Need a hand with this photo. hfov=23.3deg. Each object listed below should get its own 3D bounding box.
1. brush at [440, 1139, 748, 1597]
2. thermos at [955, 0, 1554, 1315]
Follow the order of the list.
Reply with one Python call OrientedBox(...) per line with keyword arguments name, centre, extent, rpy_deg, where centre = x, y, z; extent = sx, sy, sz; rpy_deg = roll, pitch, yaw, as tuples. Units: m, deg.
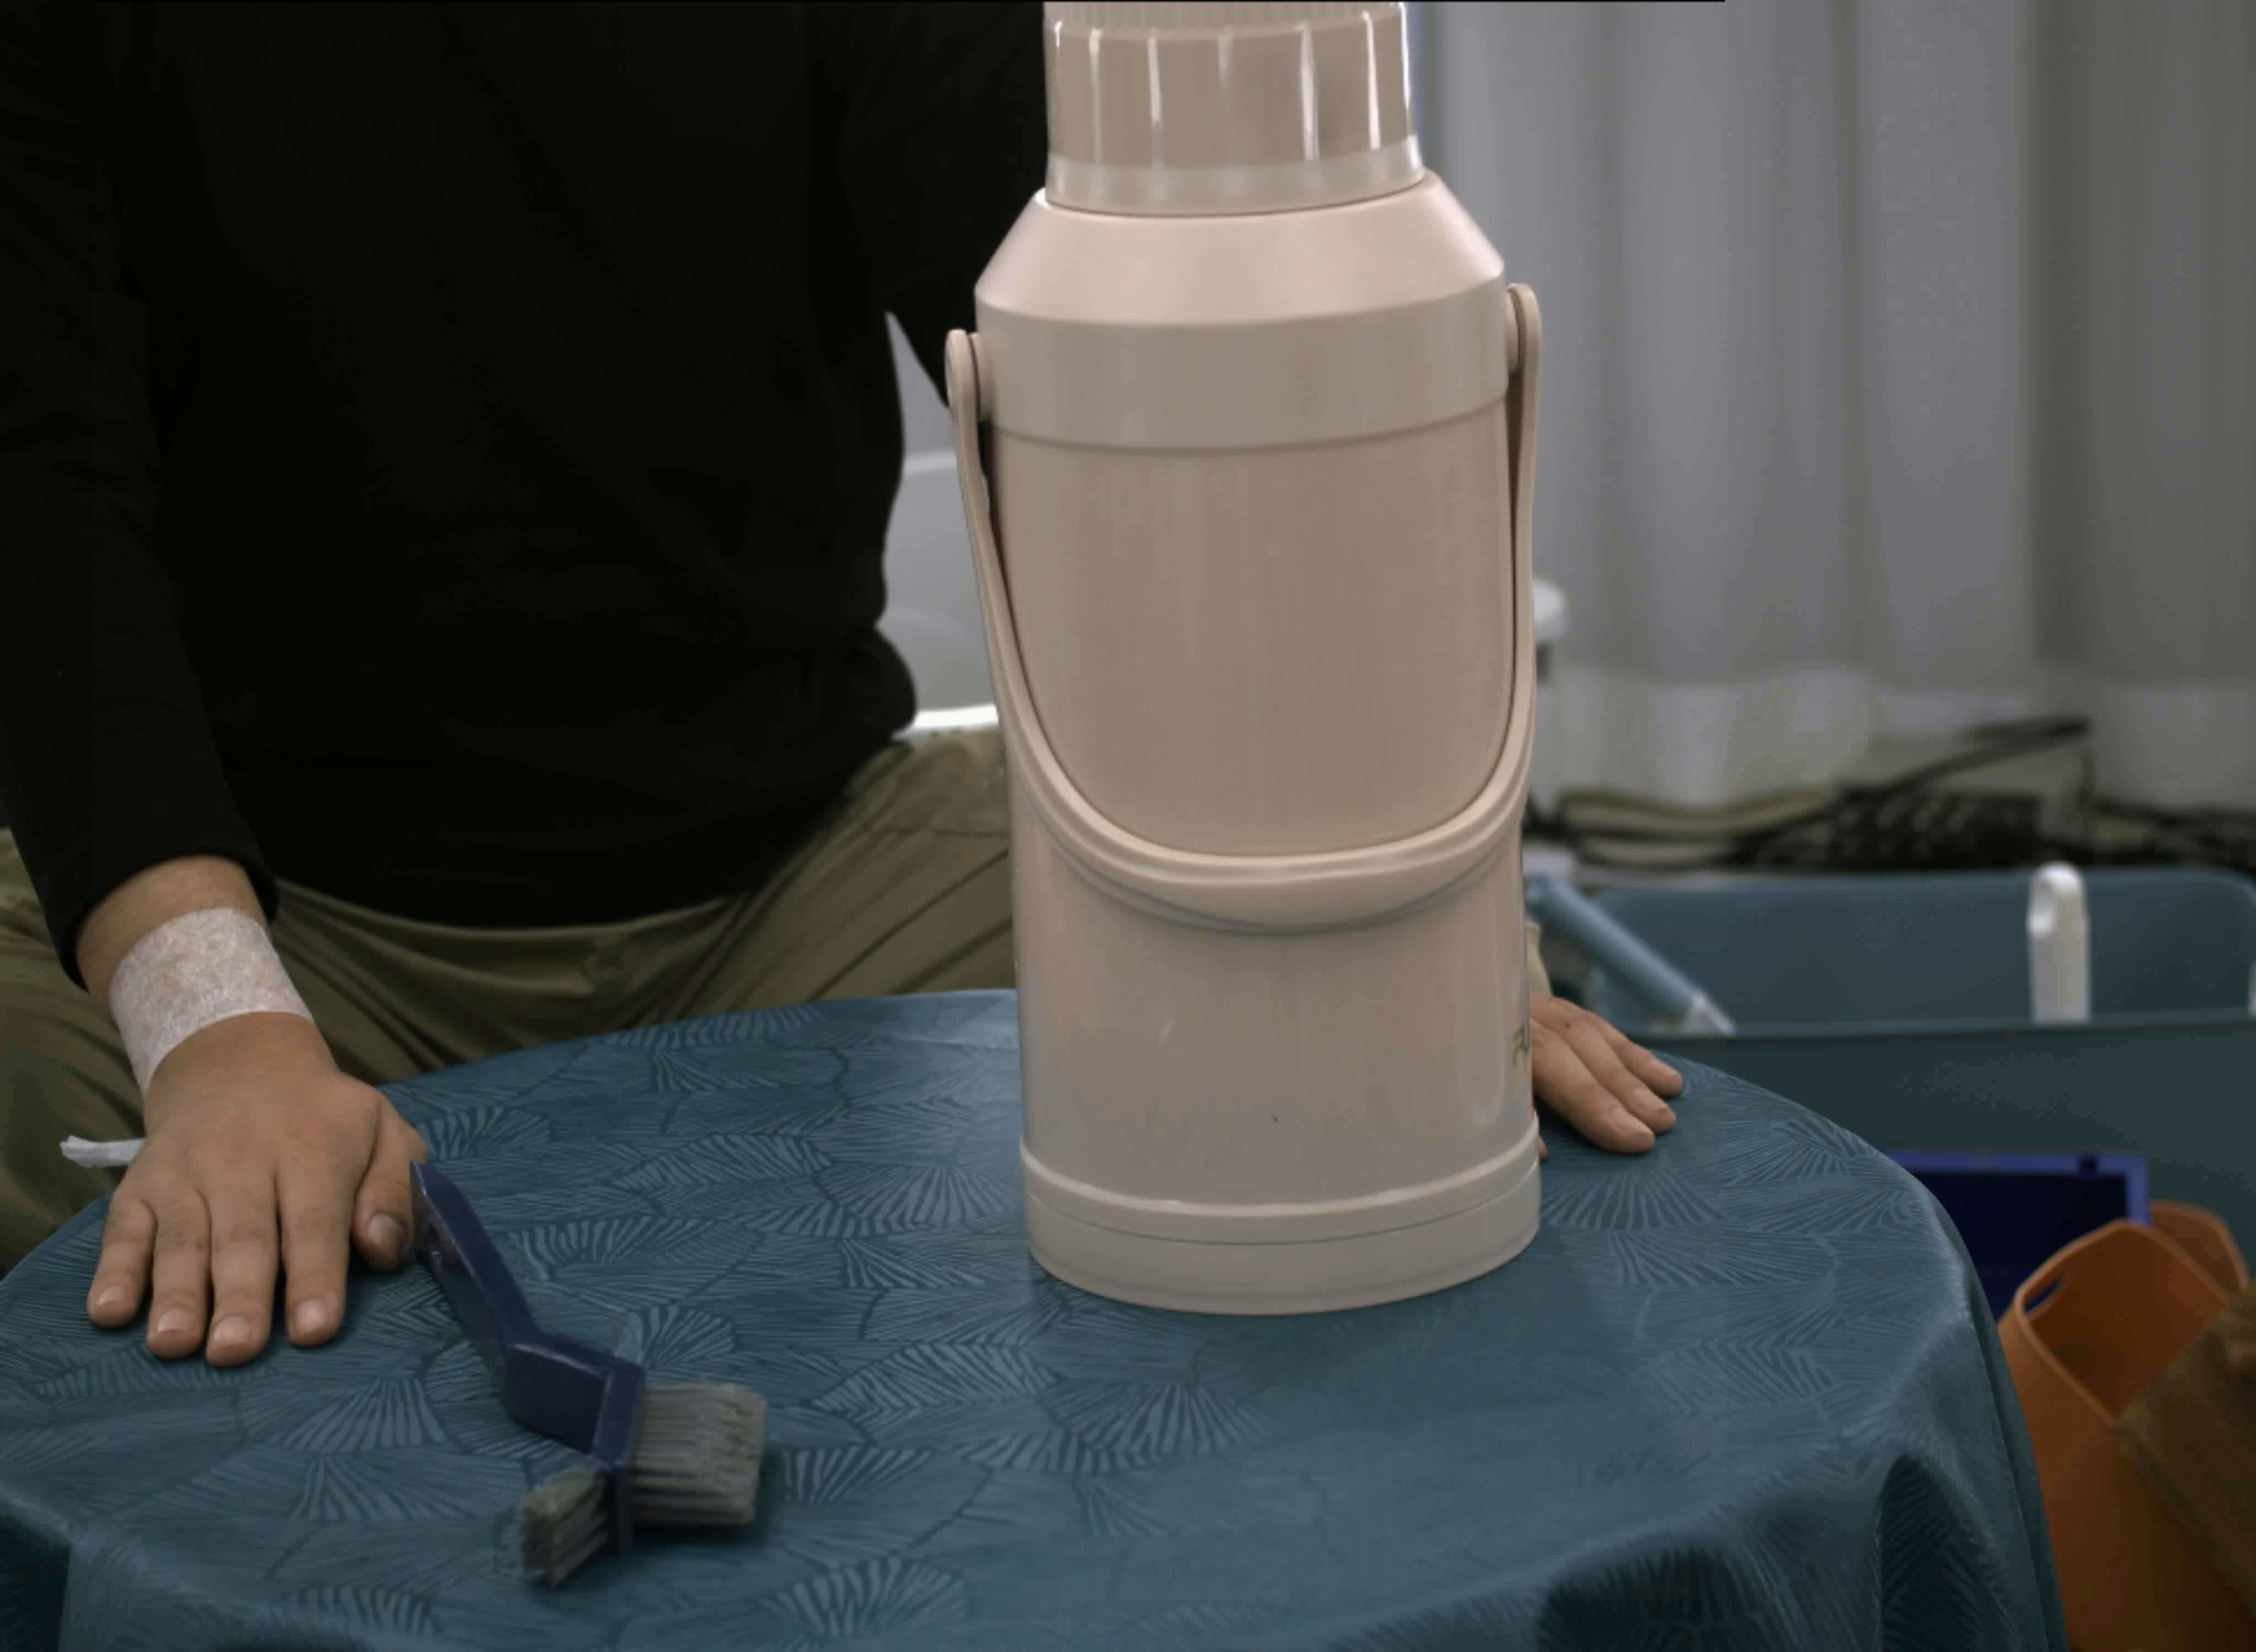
OrientedBox(name="brush", centre=(-0.179, 0.149, 1.553), extent=(0.095, 0.033, 0.275), rpy_deg=(-7, 17, -24))
OrientedBox(name="thermos", centre=(0.039, -0.072, 1.642), extent=(0.174, 0.405, 0.208), rpy_deg=(-7, 14, -9))
